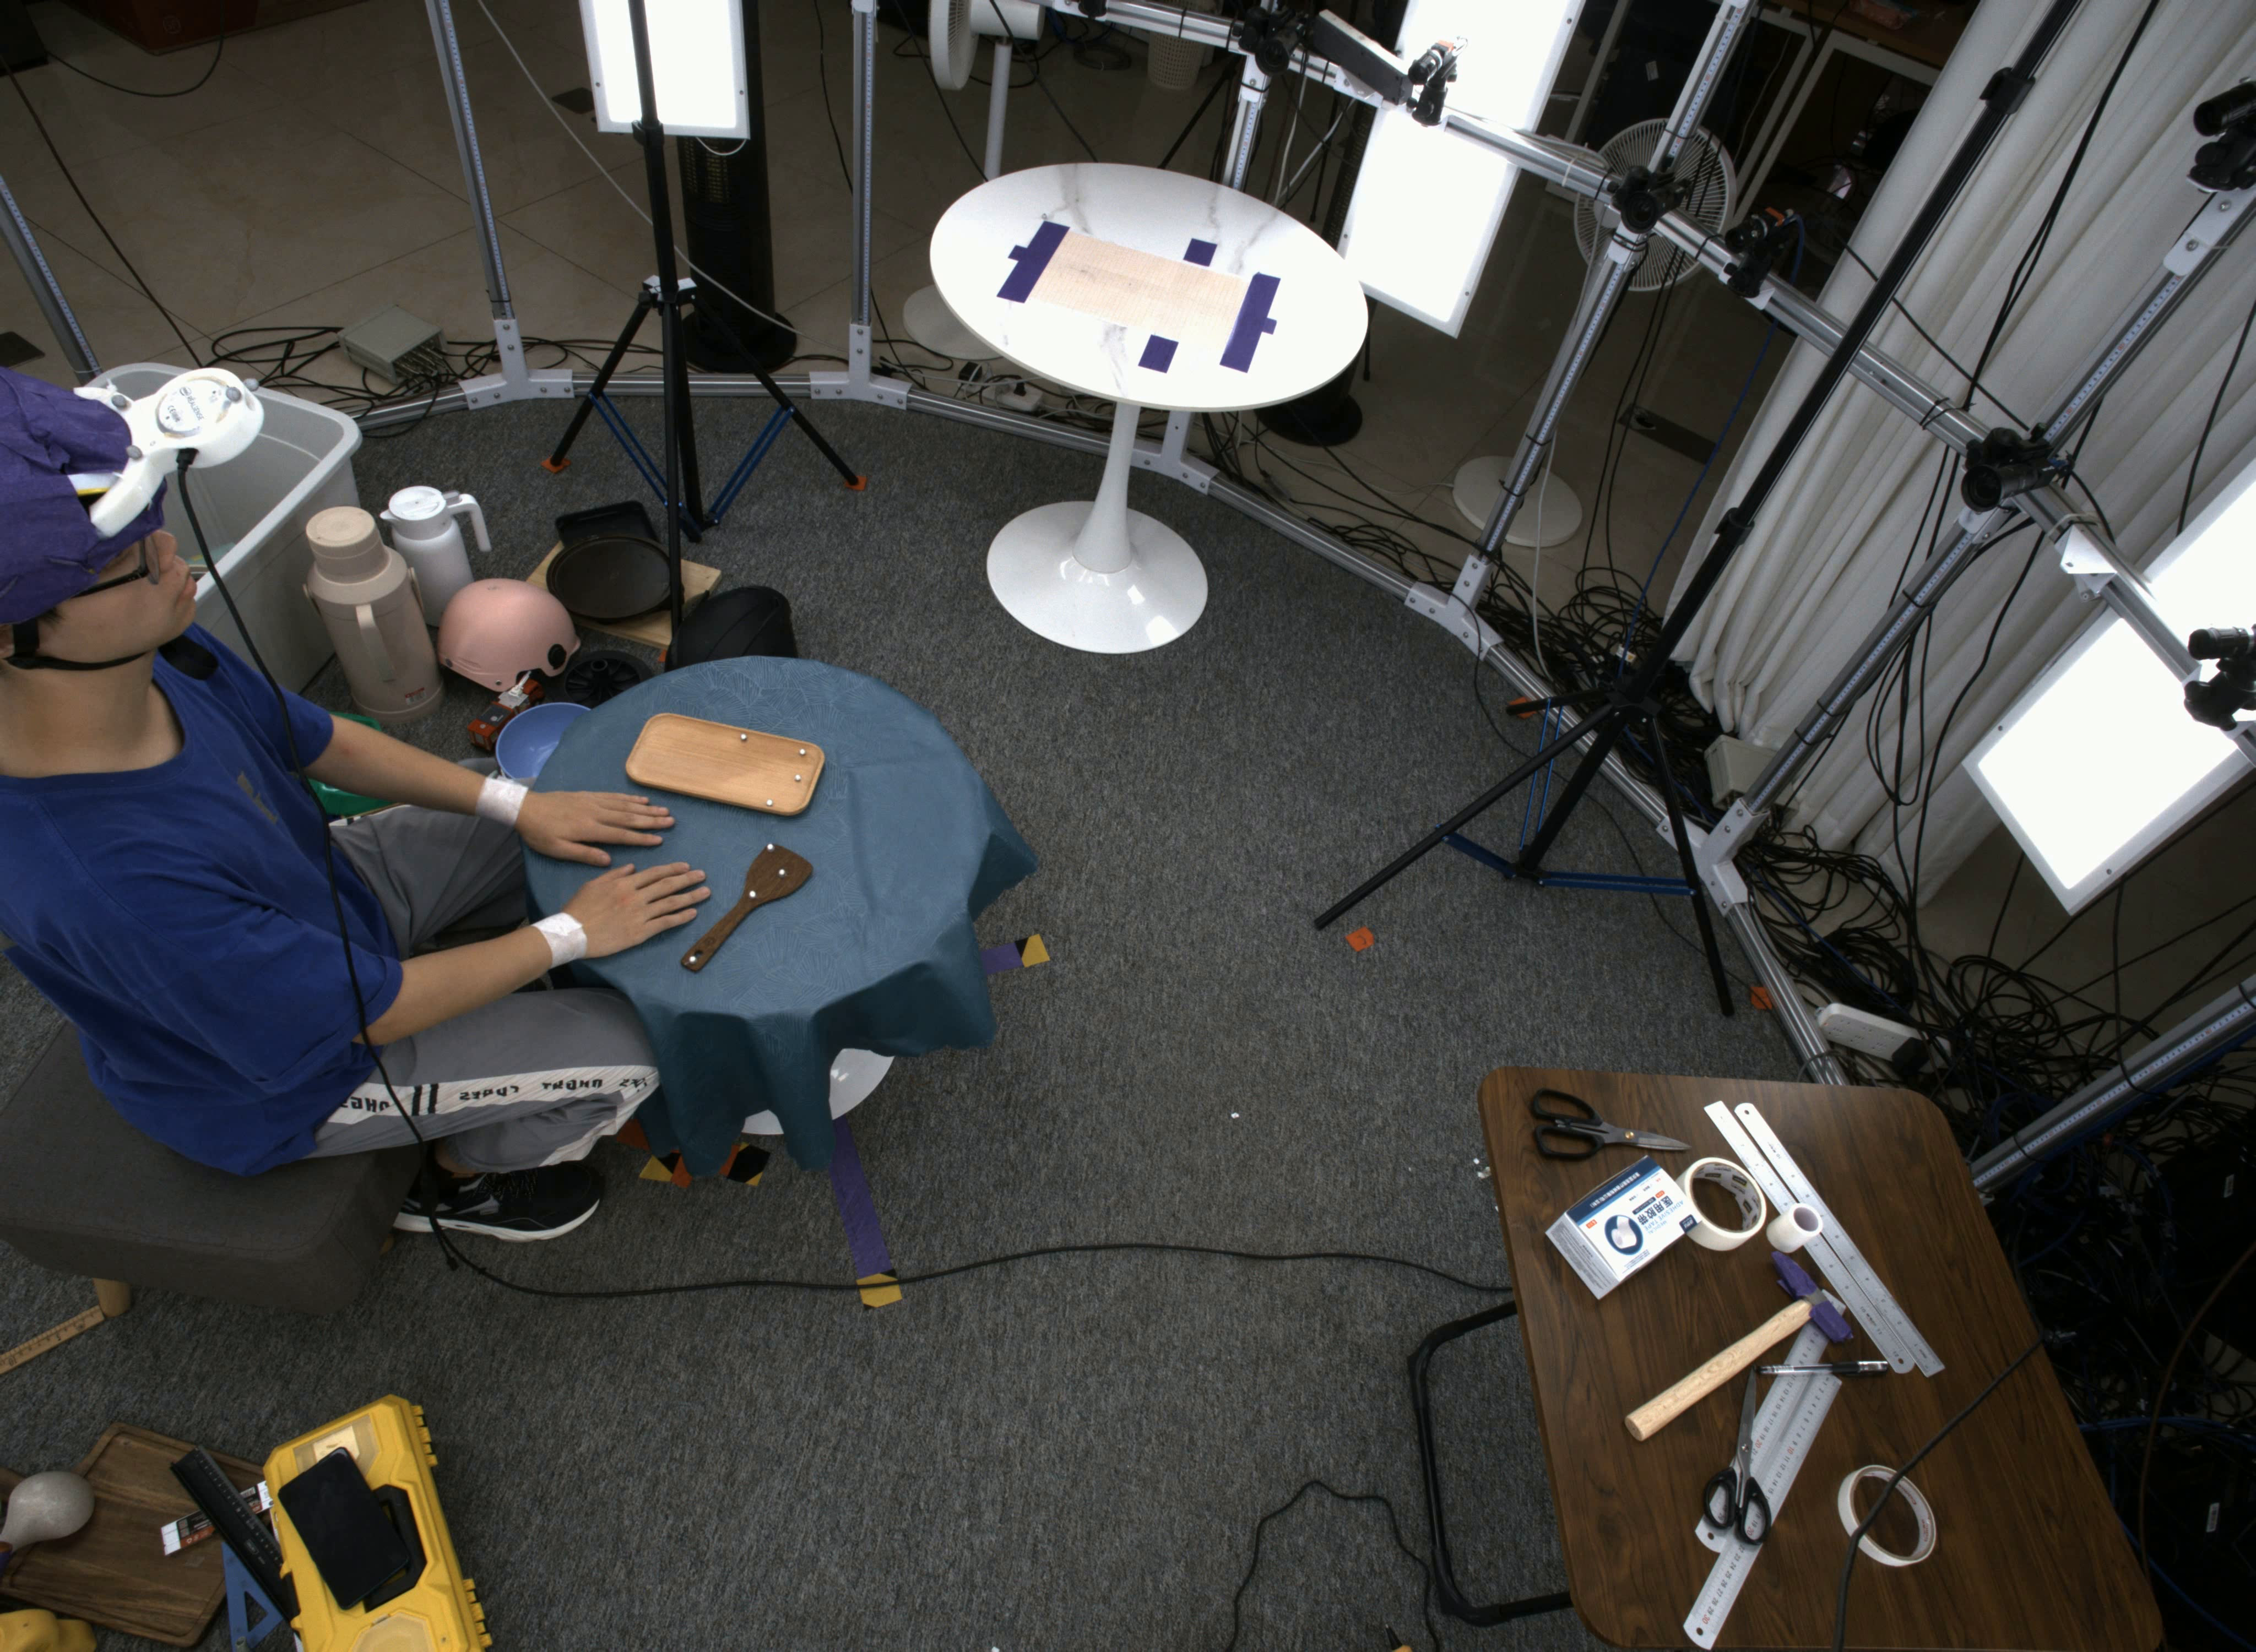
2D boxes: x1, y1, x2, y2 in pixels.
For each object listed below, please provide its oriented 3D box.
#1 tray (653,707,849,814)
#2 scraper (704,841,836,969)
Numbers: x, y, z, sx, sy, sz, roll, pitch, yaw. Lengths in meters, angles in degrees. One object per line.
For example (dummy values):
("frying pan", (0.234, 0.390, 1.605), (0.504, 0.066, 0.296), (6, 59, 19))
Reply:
("tray", (-0.515, -0.090, 1.767), (0.249, 0.023, 0.128), (14, 49, -3))
("scraper", (-0.460, 0.100, 1.645), (0.074, 0.011, 0.210), (31, 54, 10))
